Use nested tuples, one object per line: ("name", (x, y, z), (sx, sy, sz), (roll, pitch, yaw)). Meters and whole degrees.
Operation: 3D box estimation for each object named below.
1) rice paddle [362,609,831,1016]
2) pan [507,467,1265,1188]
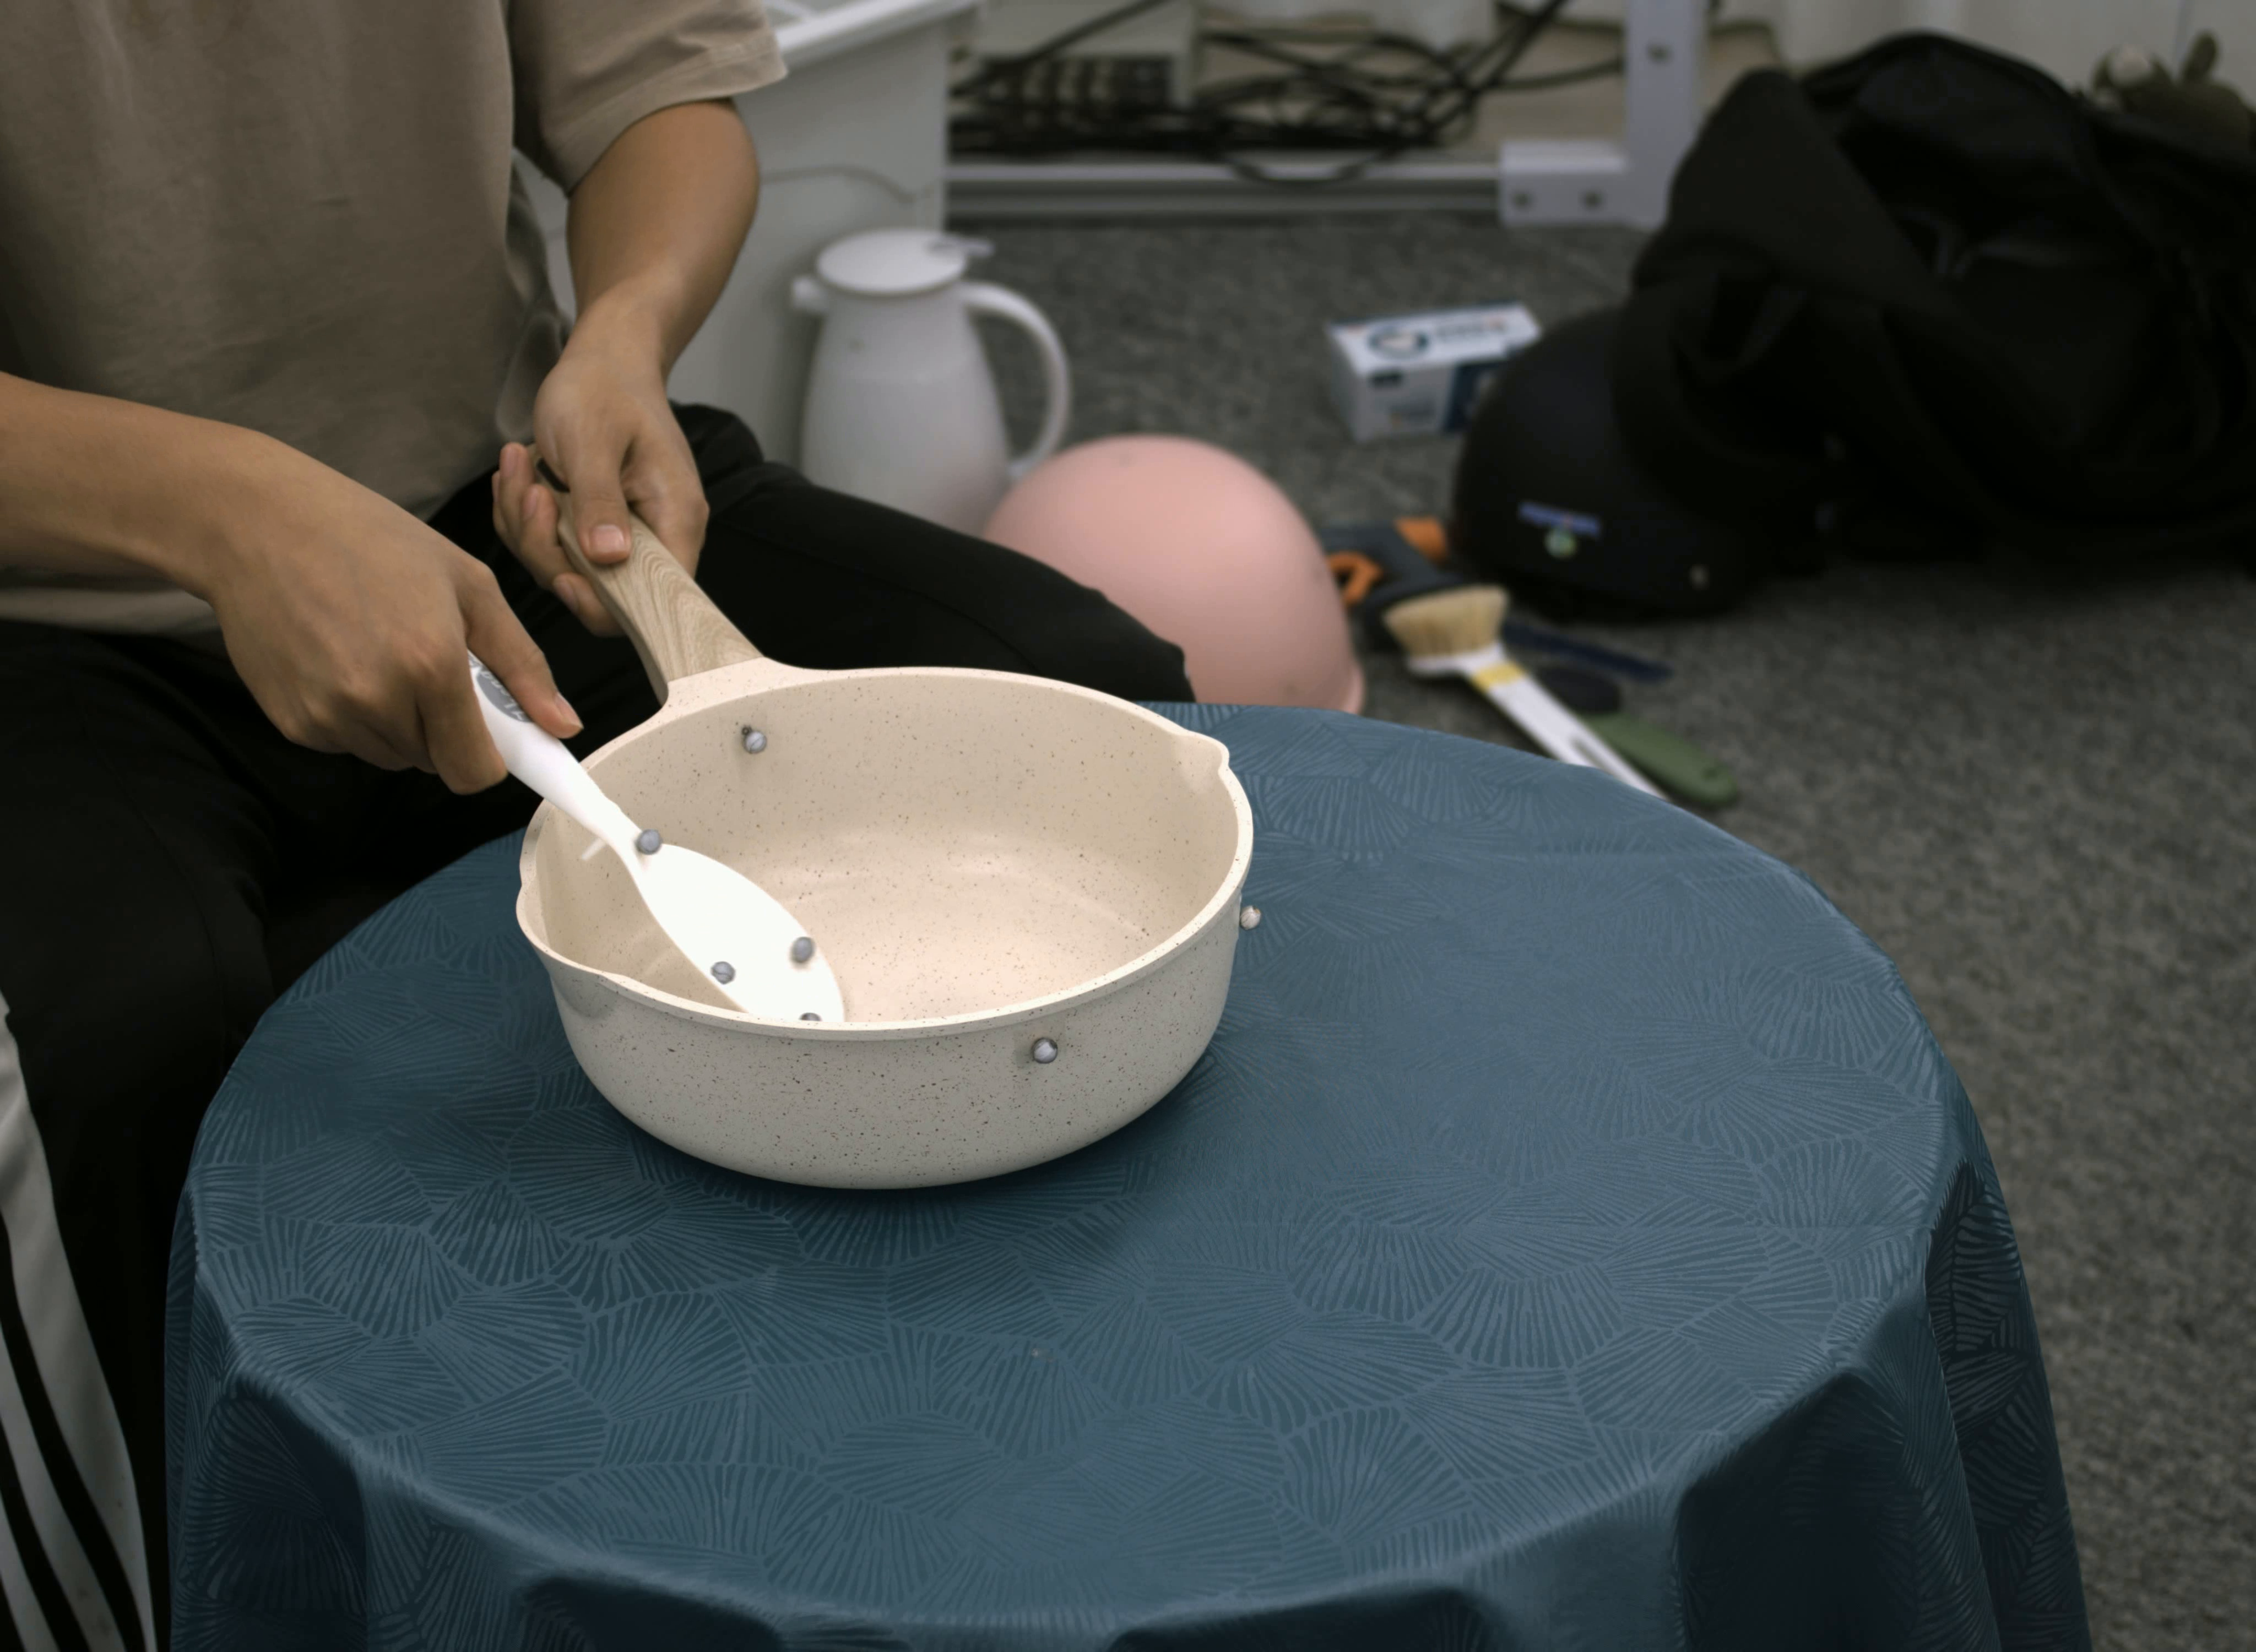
("rice paddle", (-0.175, 0.003, 1.923), (0.029, 0.204, 0.070), (-41, 16, 27))
("pan", (-0.119, -0.005, 2.007), (0.265, 0.101, 0.437), (-17, 32, -23))
